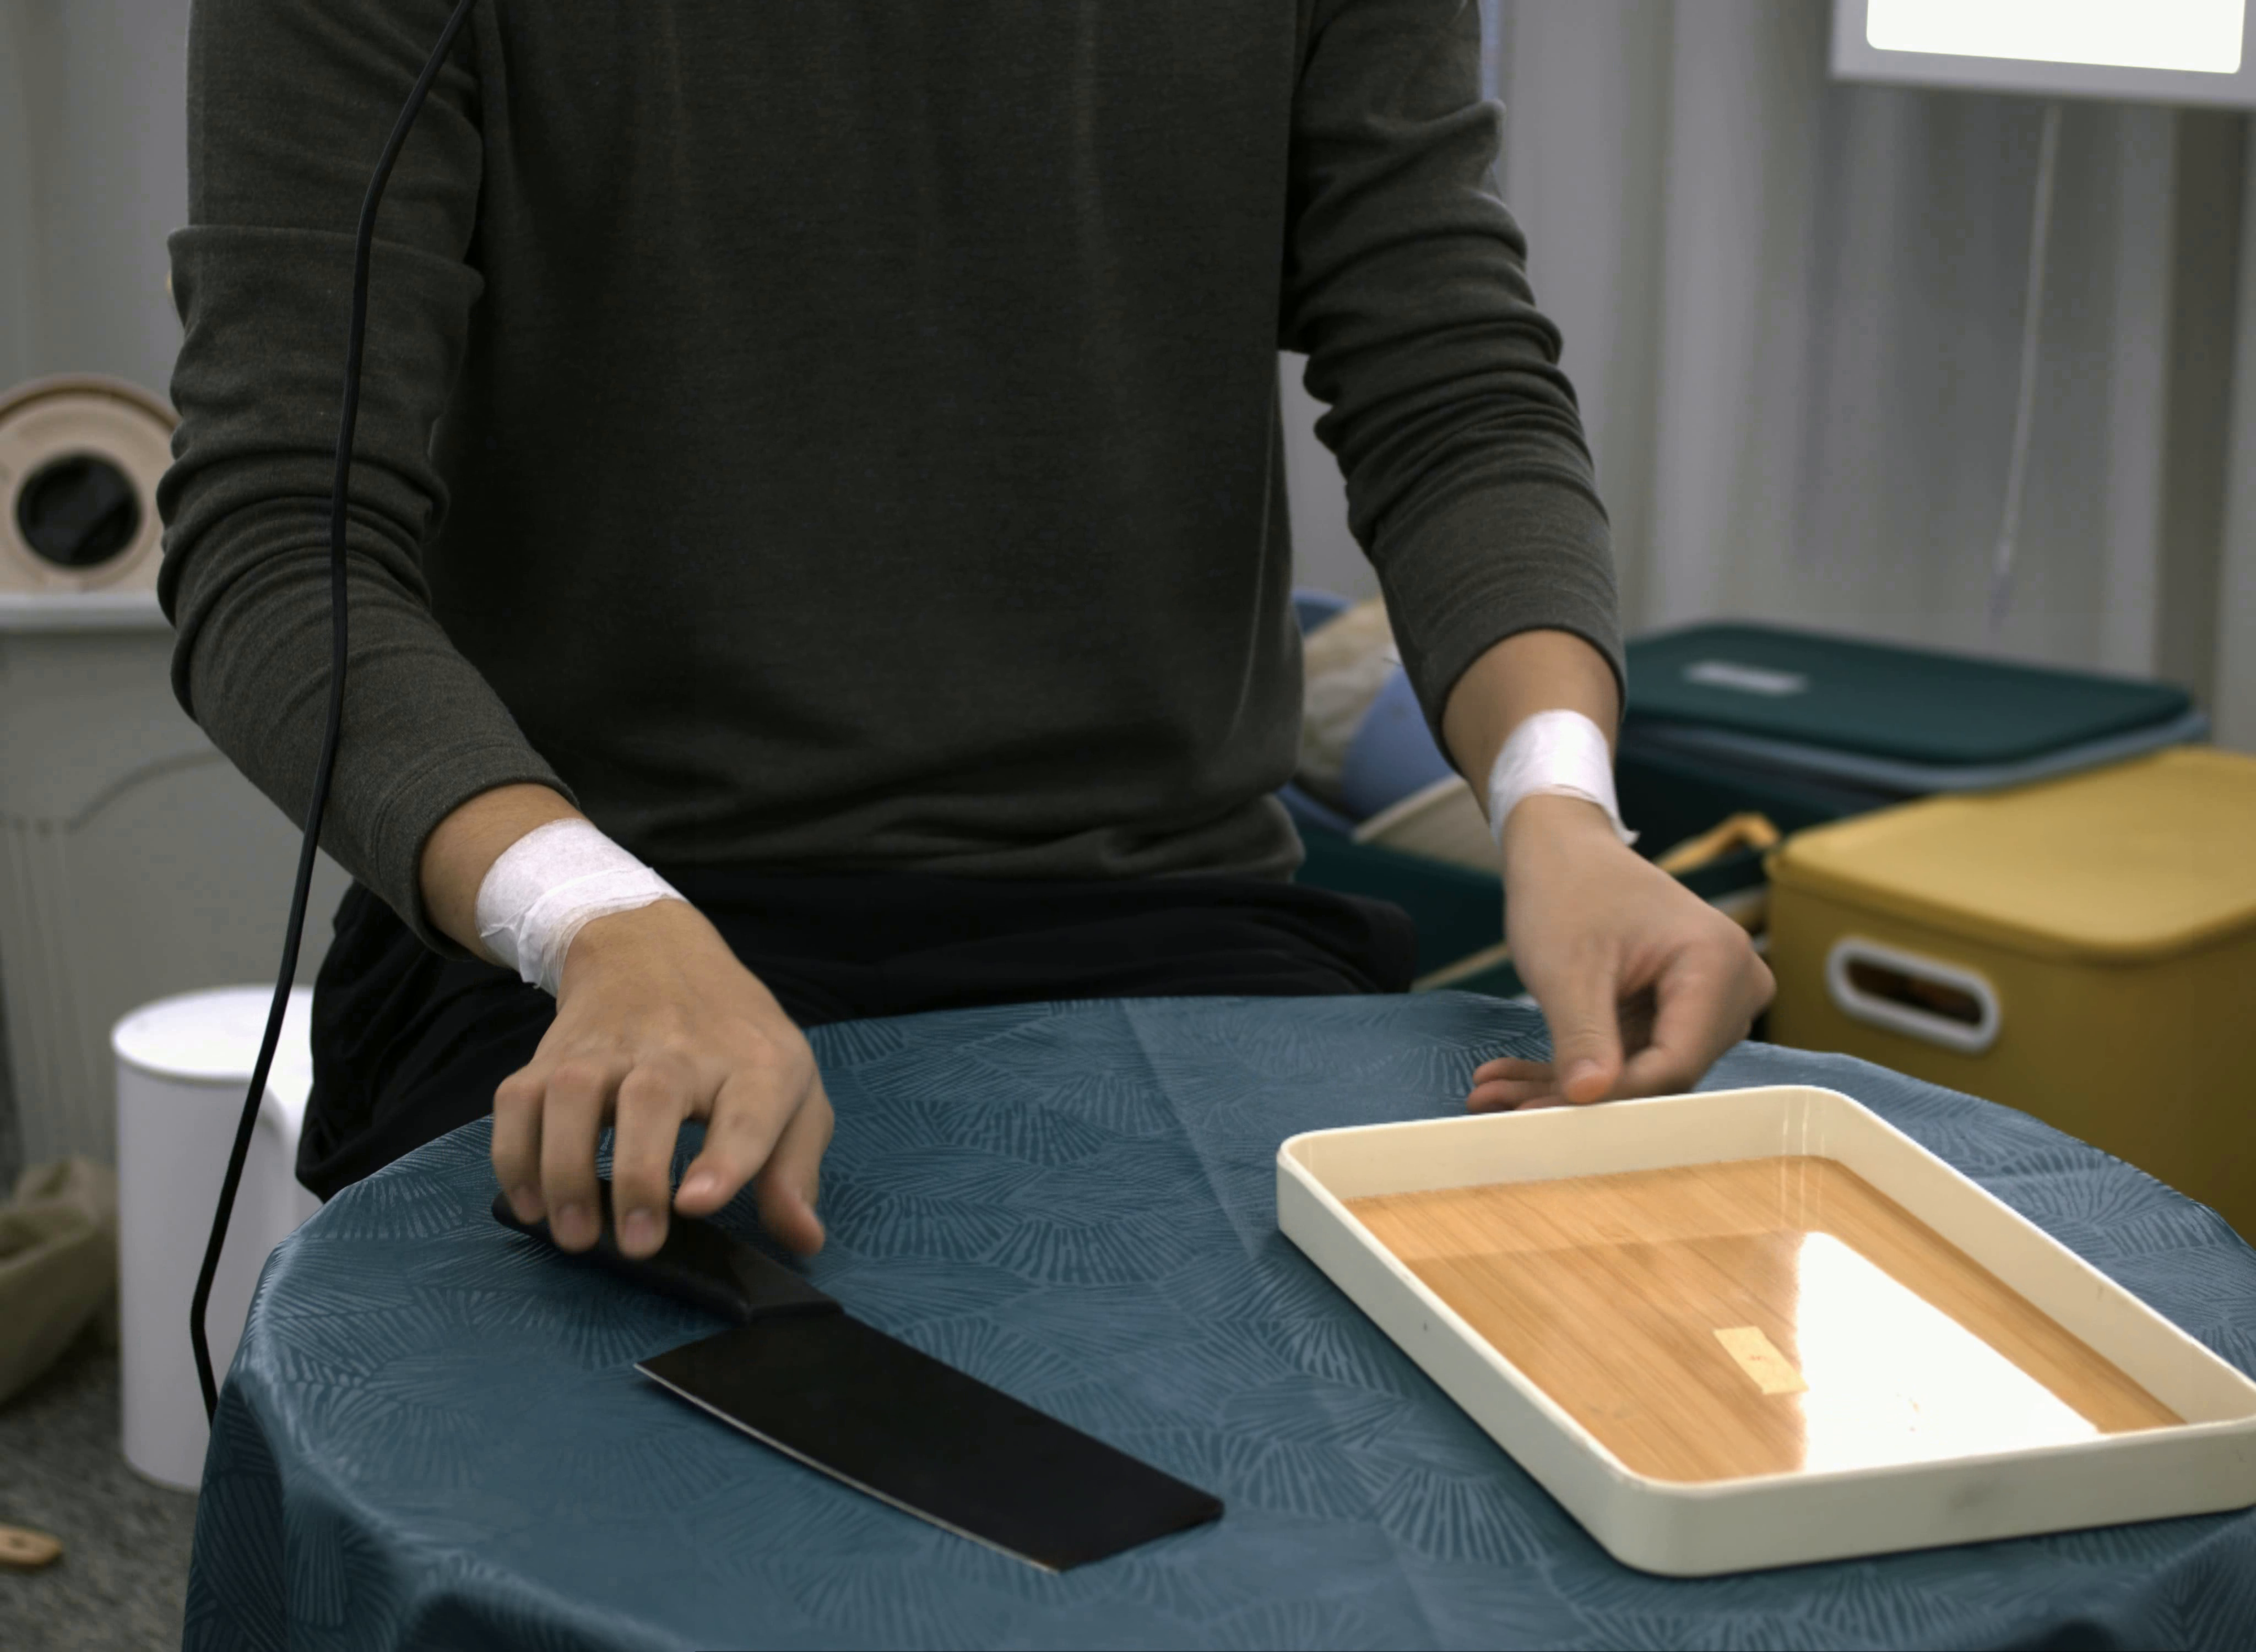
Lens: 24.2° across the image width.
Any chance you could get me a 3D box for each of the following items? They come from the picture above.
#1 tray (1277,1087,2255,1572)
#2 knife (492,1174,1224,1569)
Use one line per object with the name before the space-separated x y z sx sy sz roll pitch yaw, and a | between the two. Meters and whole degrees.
tray | 0.175 0.136 1.493 0.192 0.027 0.297 -4 16 -17
knife | -0.091 0.149 1.464 0.081 0.021 0.298 -13 22 -35
